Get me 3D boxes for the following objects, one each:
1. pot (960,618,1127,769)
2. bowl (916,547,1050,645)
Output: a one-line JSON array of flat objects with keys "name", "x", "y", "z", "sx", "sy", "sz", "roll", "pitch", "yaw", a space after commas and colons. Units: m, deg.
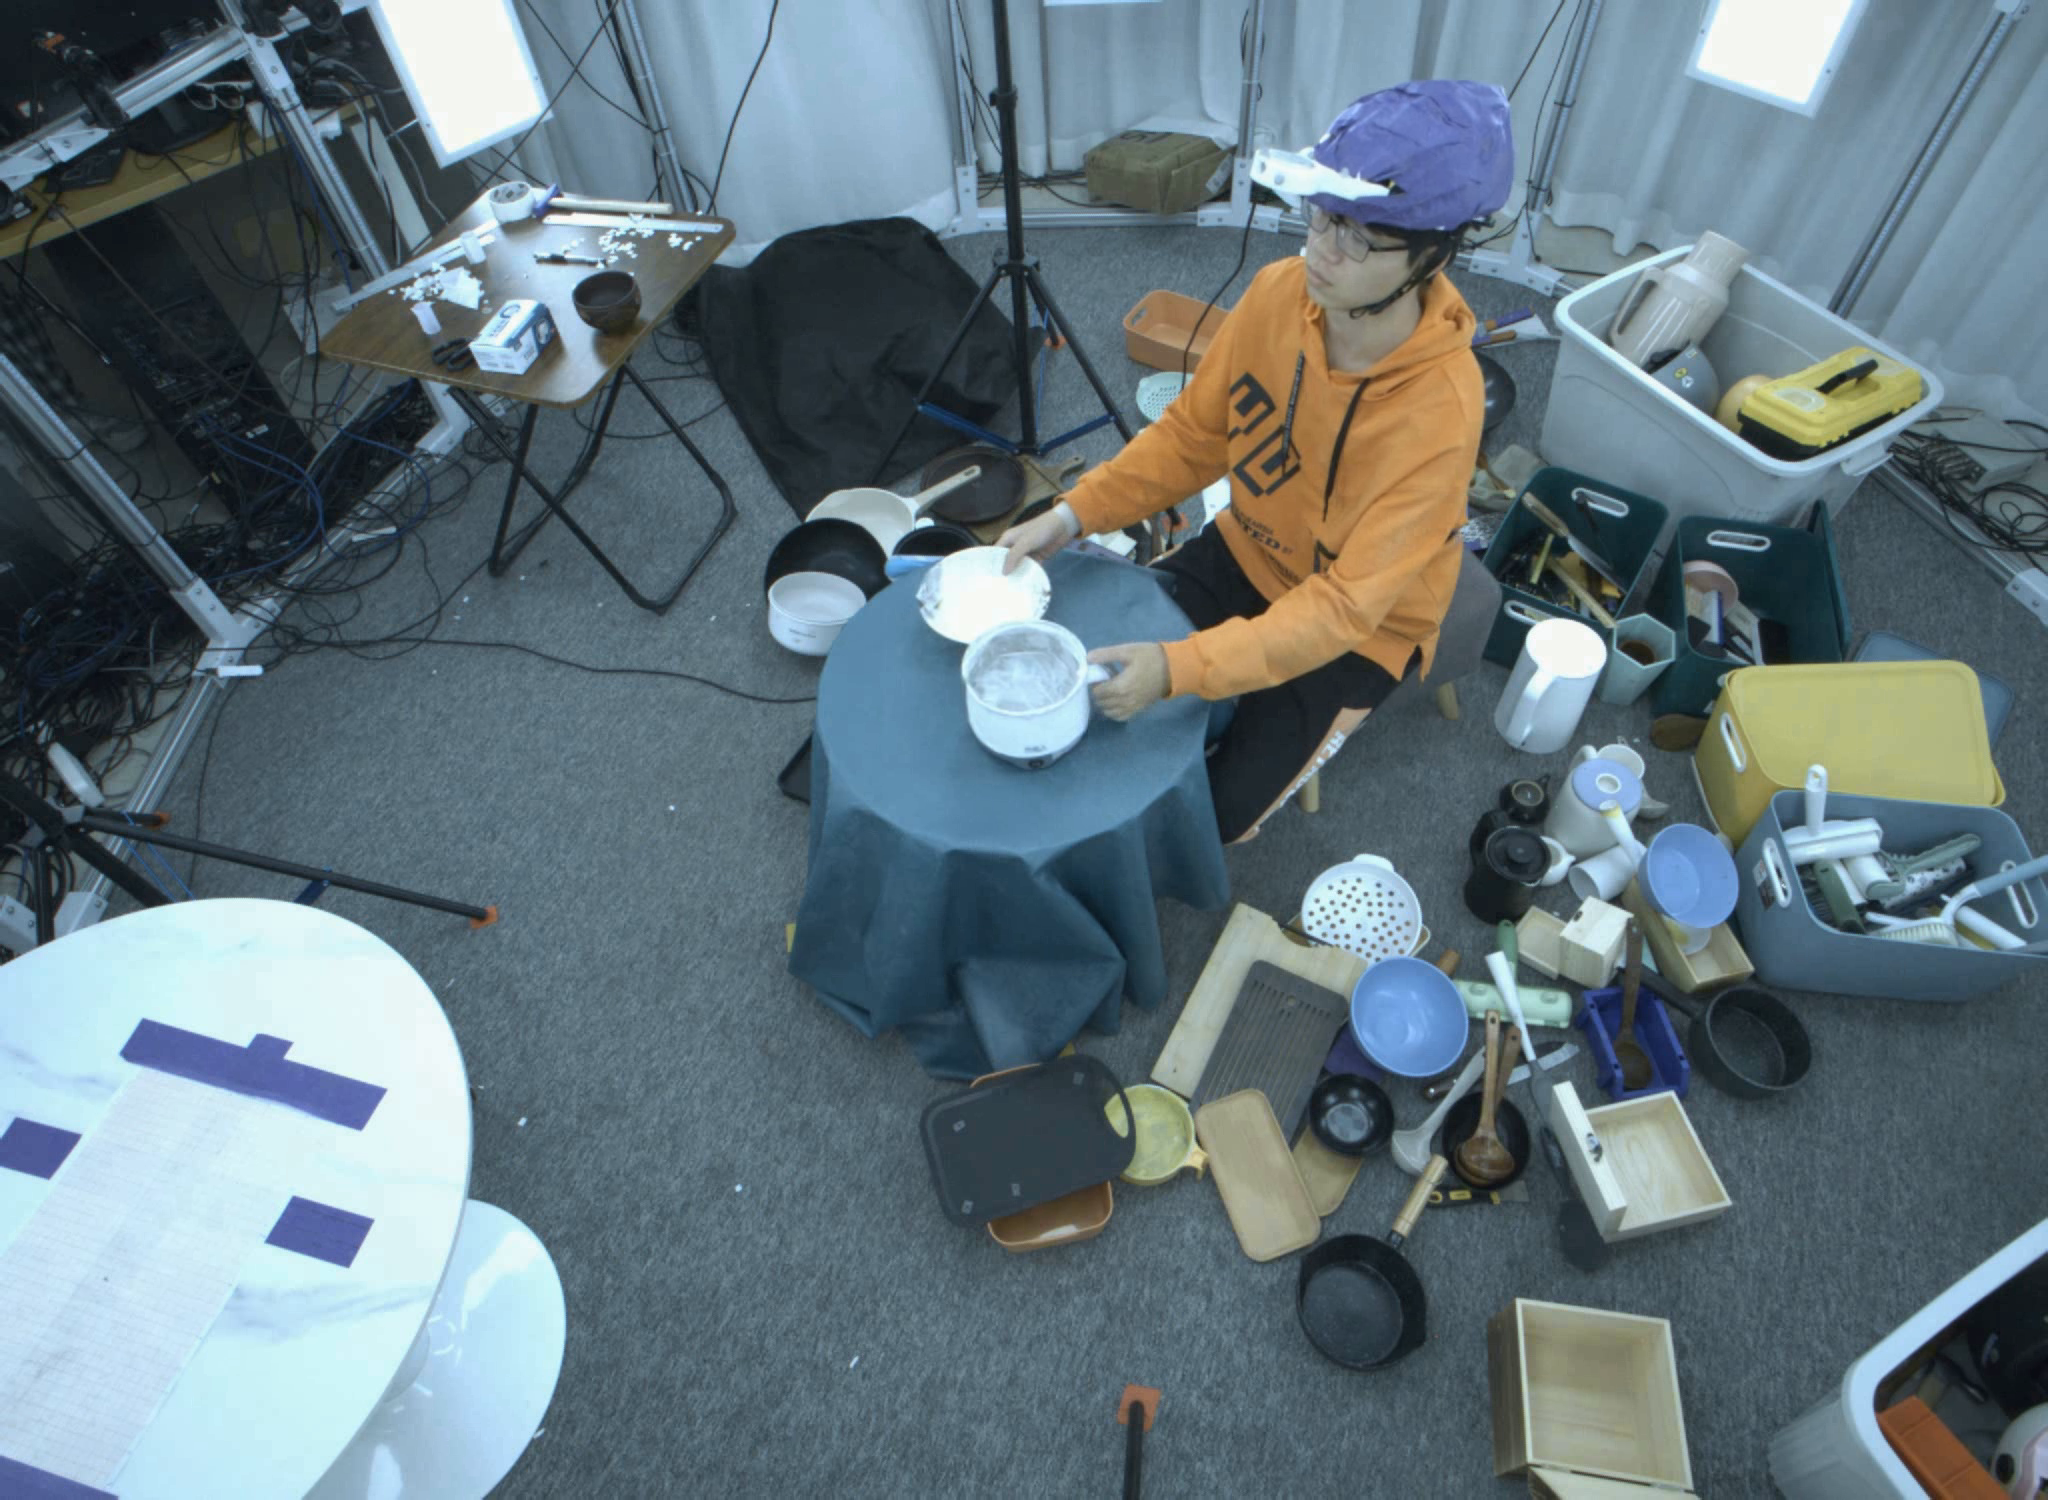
[{"name": "pot", "x": 0.031, "y": -0.084, "z": 1.761, "sx": 0.234, "sy": 0.138, "sz": 0.176, "roll": -8, "pitch": 55, "yaw": -3}, {"name": "bowl", "x": -0.062, "y": -0.217, "z": 1.897, "sx": 0.204, "sy": 0.079, "sz": 0.202, "roll": 0, "pitch": 54, "yaw": 1}]
